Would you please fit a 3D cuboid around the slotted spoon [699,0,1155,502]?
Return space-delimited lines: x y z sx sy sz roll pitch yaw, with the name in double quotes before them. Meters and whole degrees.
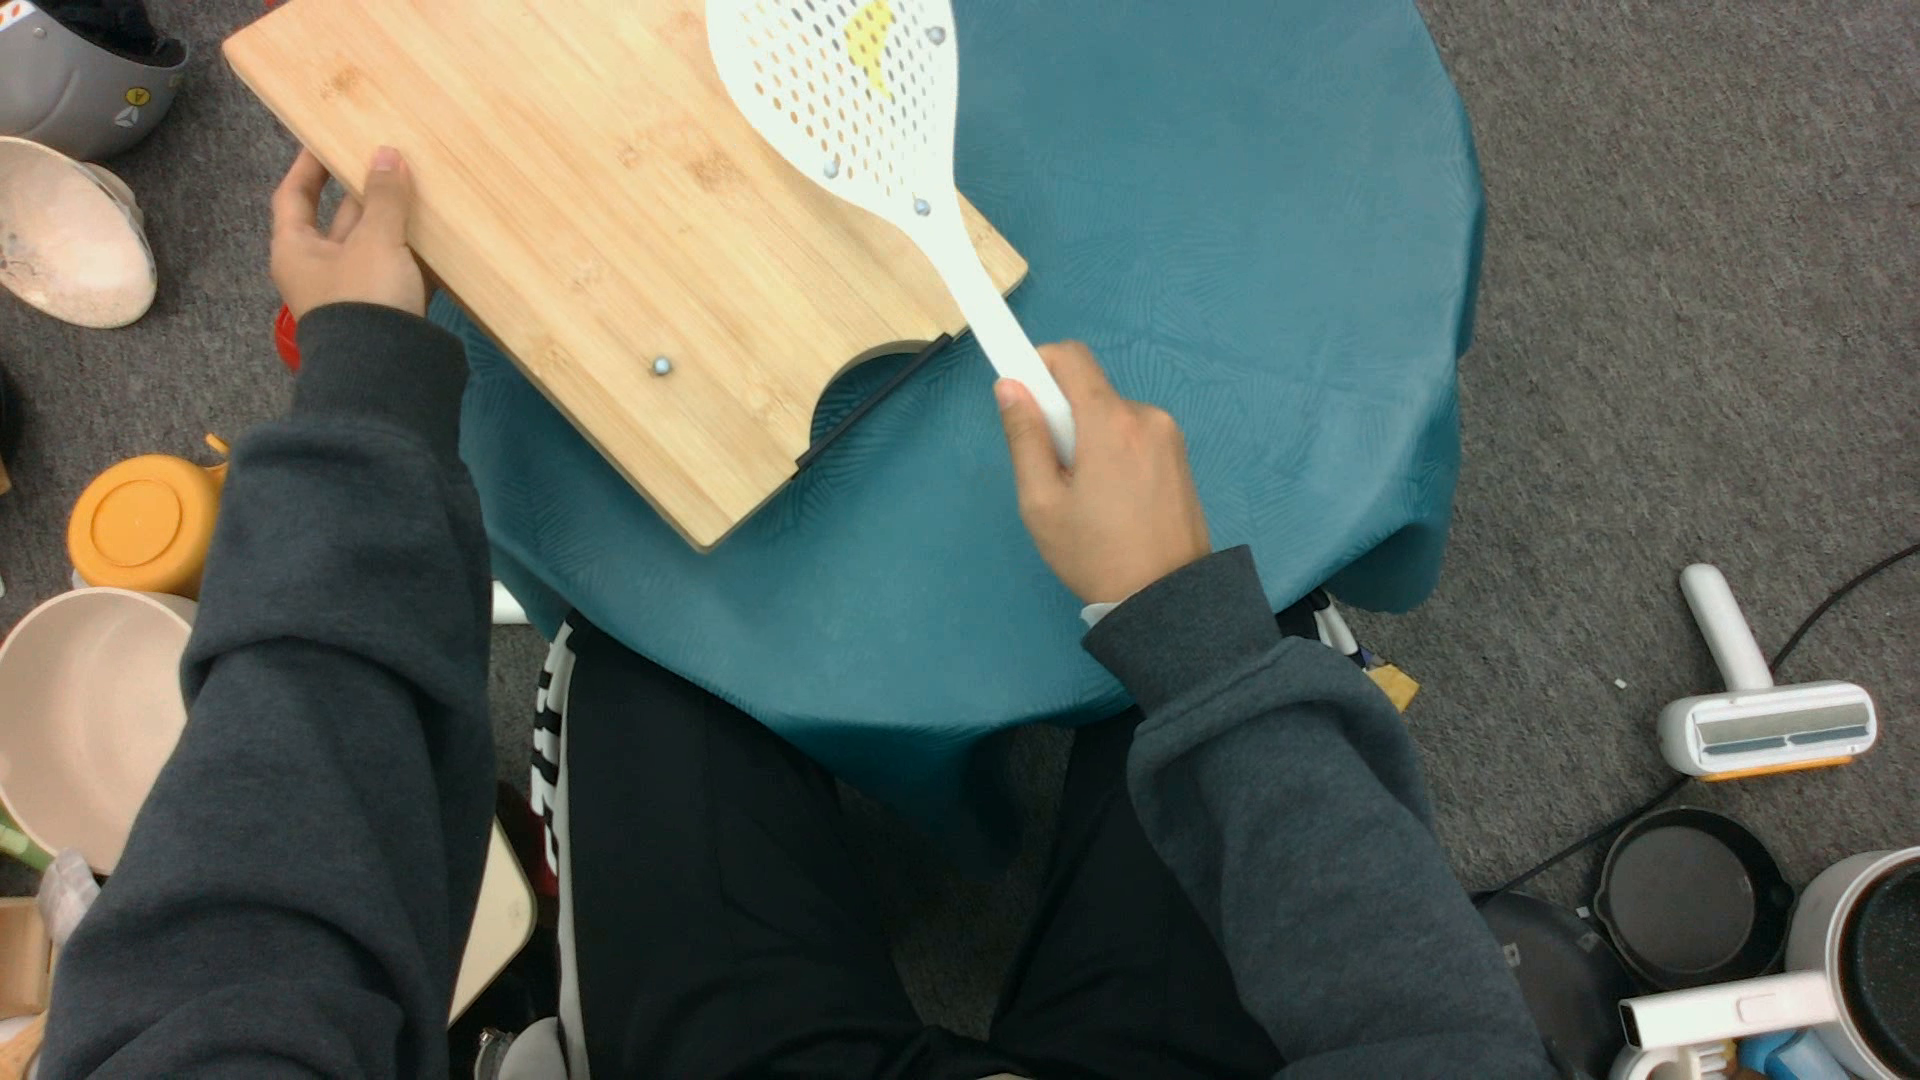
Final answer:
"slotted spoon" -0.010 -0.166 0.648 0.136 0.050 0.348 -33 77 28

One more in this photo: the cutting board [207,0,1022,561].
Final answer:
"cutting board" -0.167 -0.193 0.715 0.348 0.023 0.251 45 68 1
